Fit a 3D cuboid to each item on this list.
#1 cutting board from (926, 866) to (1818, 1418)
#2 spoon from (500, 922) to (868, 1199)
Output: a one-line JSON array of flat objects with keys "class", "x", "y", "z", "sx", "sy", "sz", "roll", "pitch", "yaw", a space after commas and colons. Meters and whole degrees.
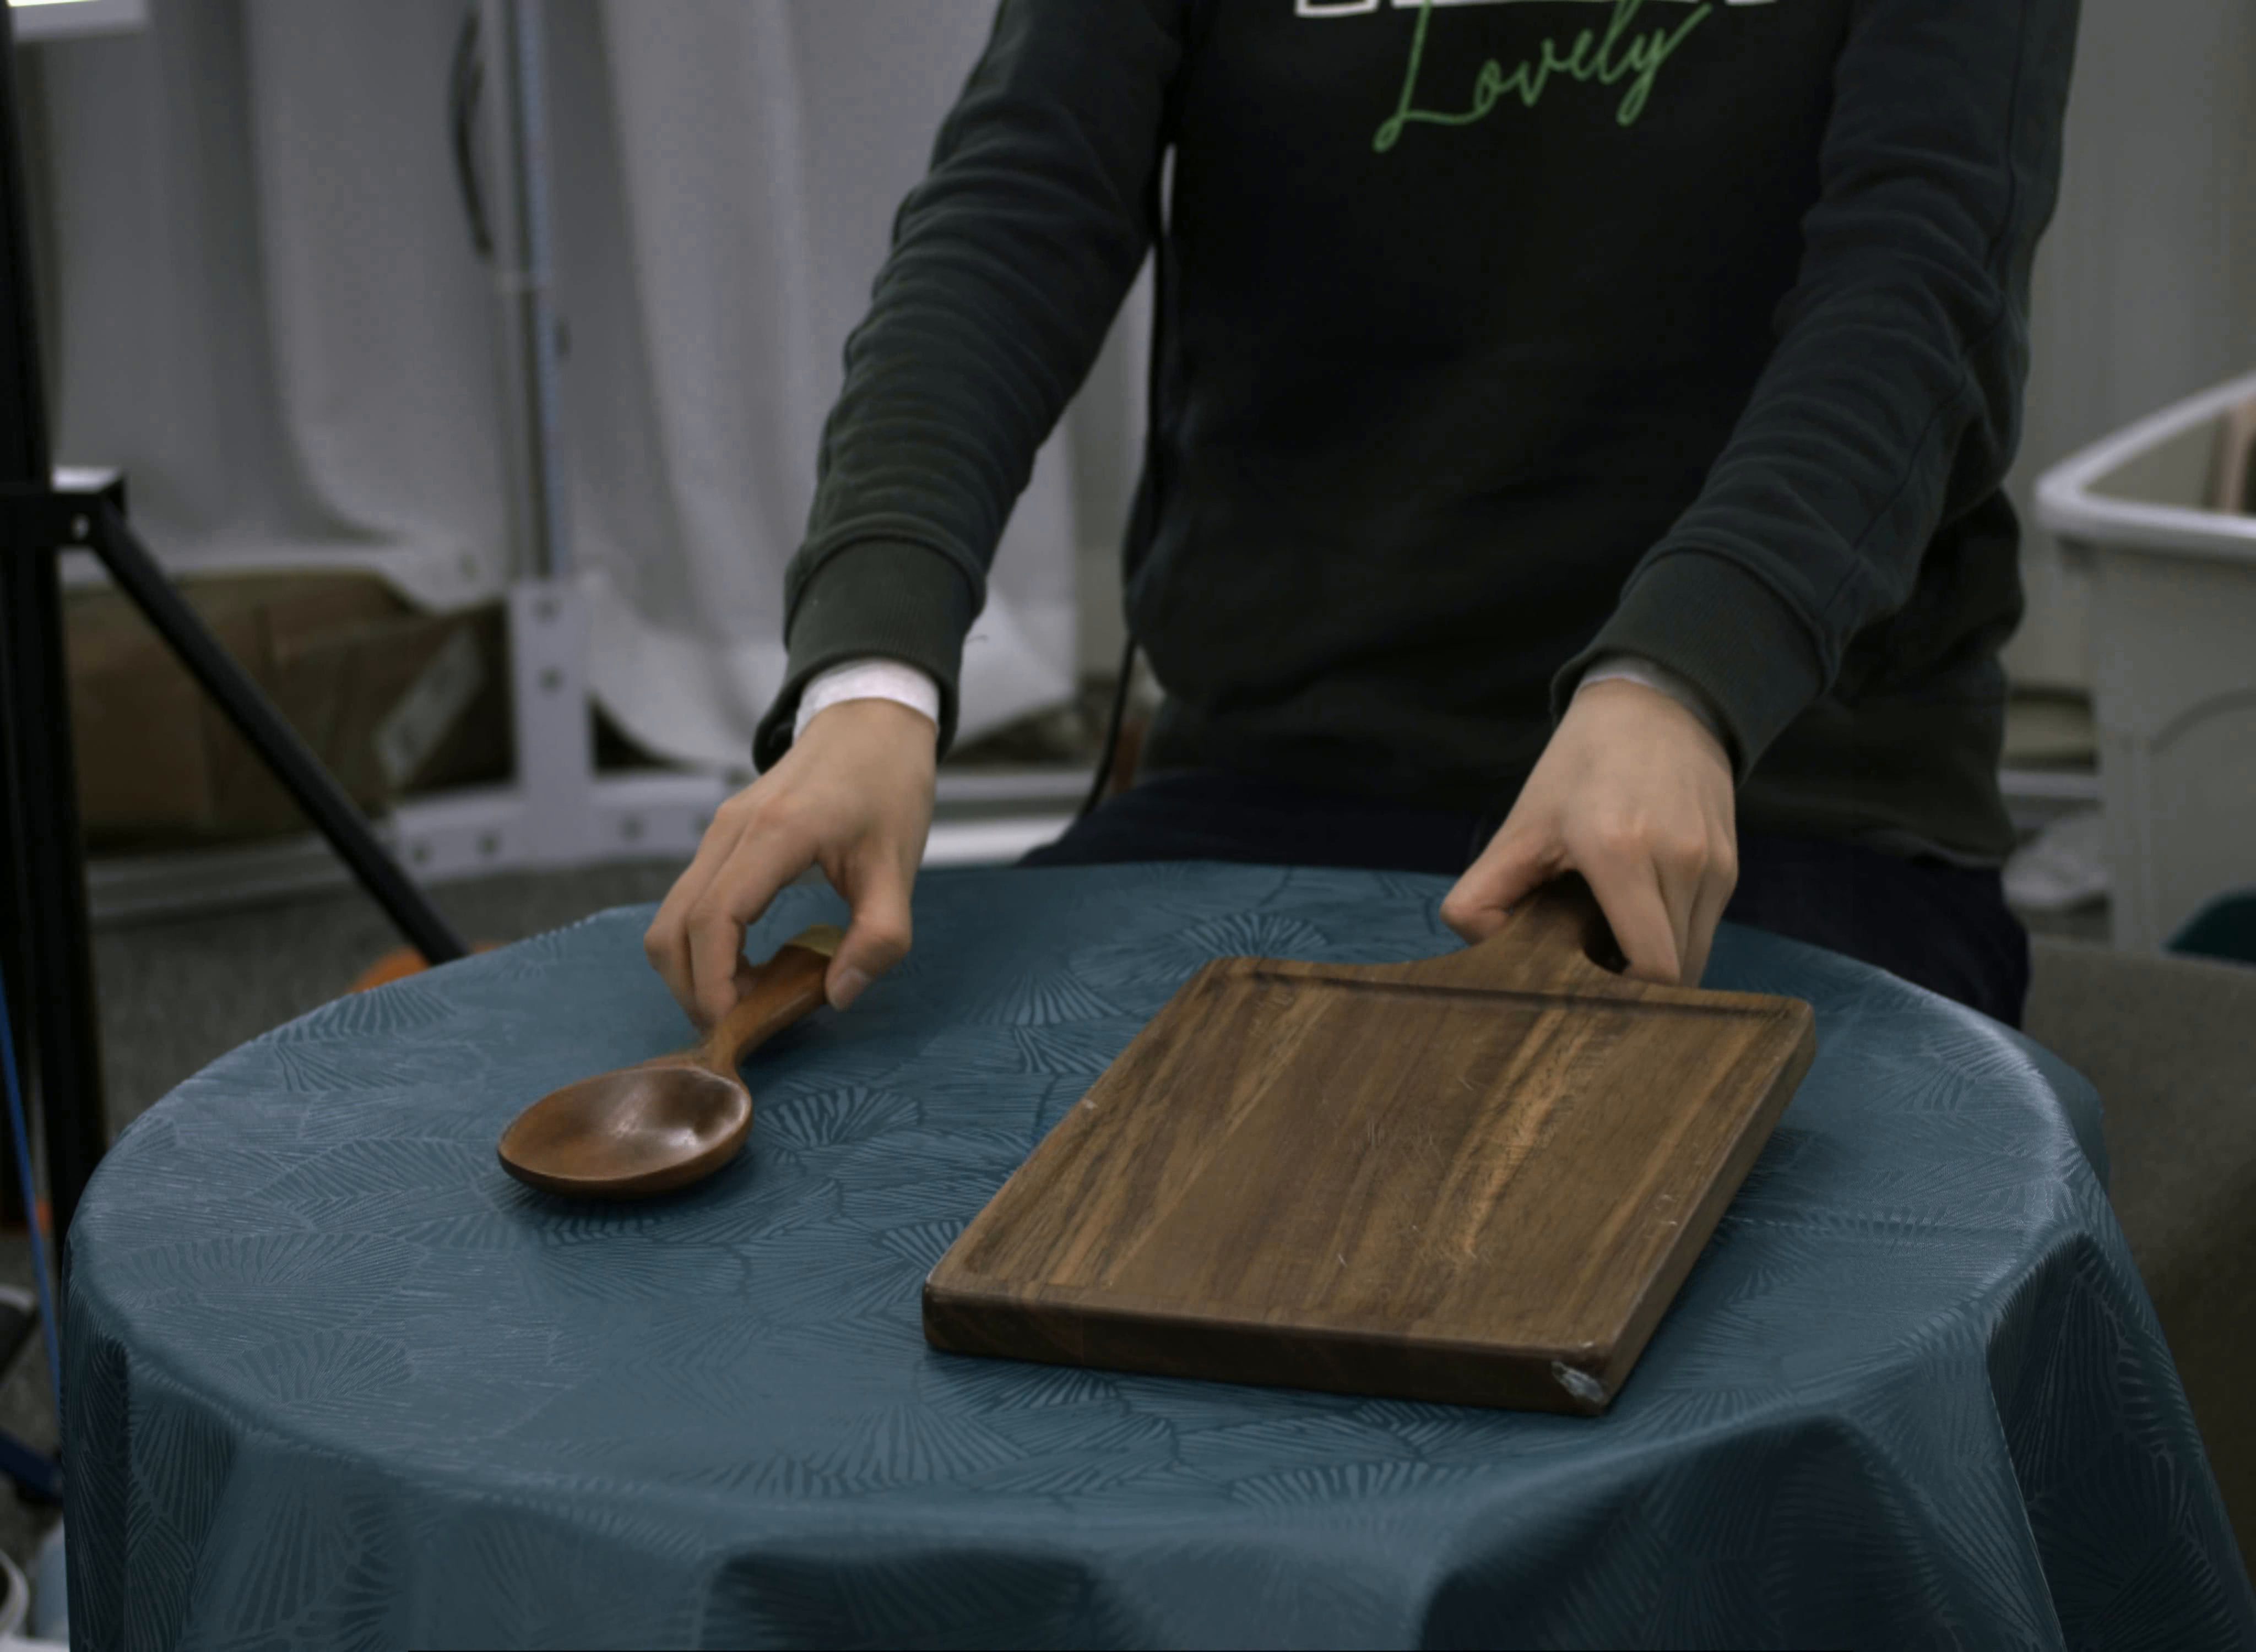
[{"class": "cutting board", "x": 0.092, "y": 0.083, "z": 1.553, "sx": 0.203, "sy": 0.023, "sz": 0.348, "roll": 2, "pitch": 21, "yaw": 21}, {"class": "spoon", "x": -0.127, "y": 0.074, "z": 1.652, "sx": 0.076, "sy": 0.017, "sz": 0.214, "roll": 1, "pitch": 20, "yaw": 20}]
